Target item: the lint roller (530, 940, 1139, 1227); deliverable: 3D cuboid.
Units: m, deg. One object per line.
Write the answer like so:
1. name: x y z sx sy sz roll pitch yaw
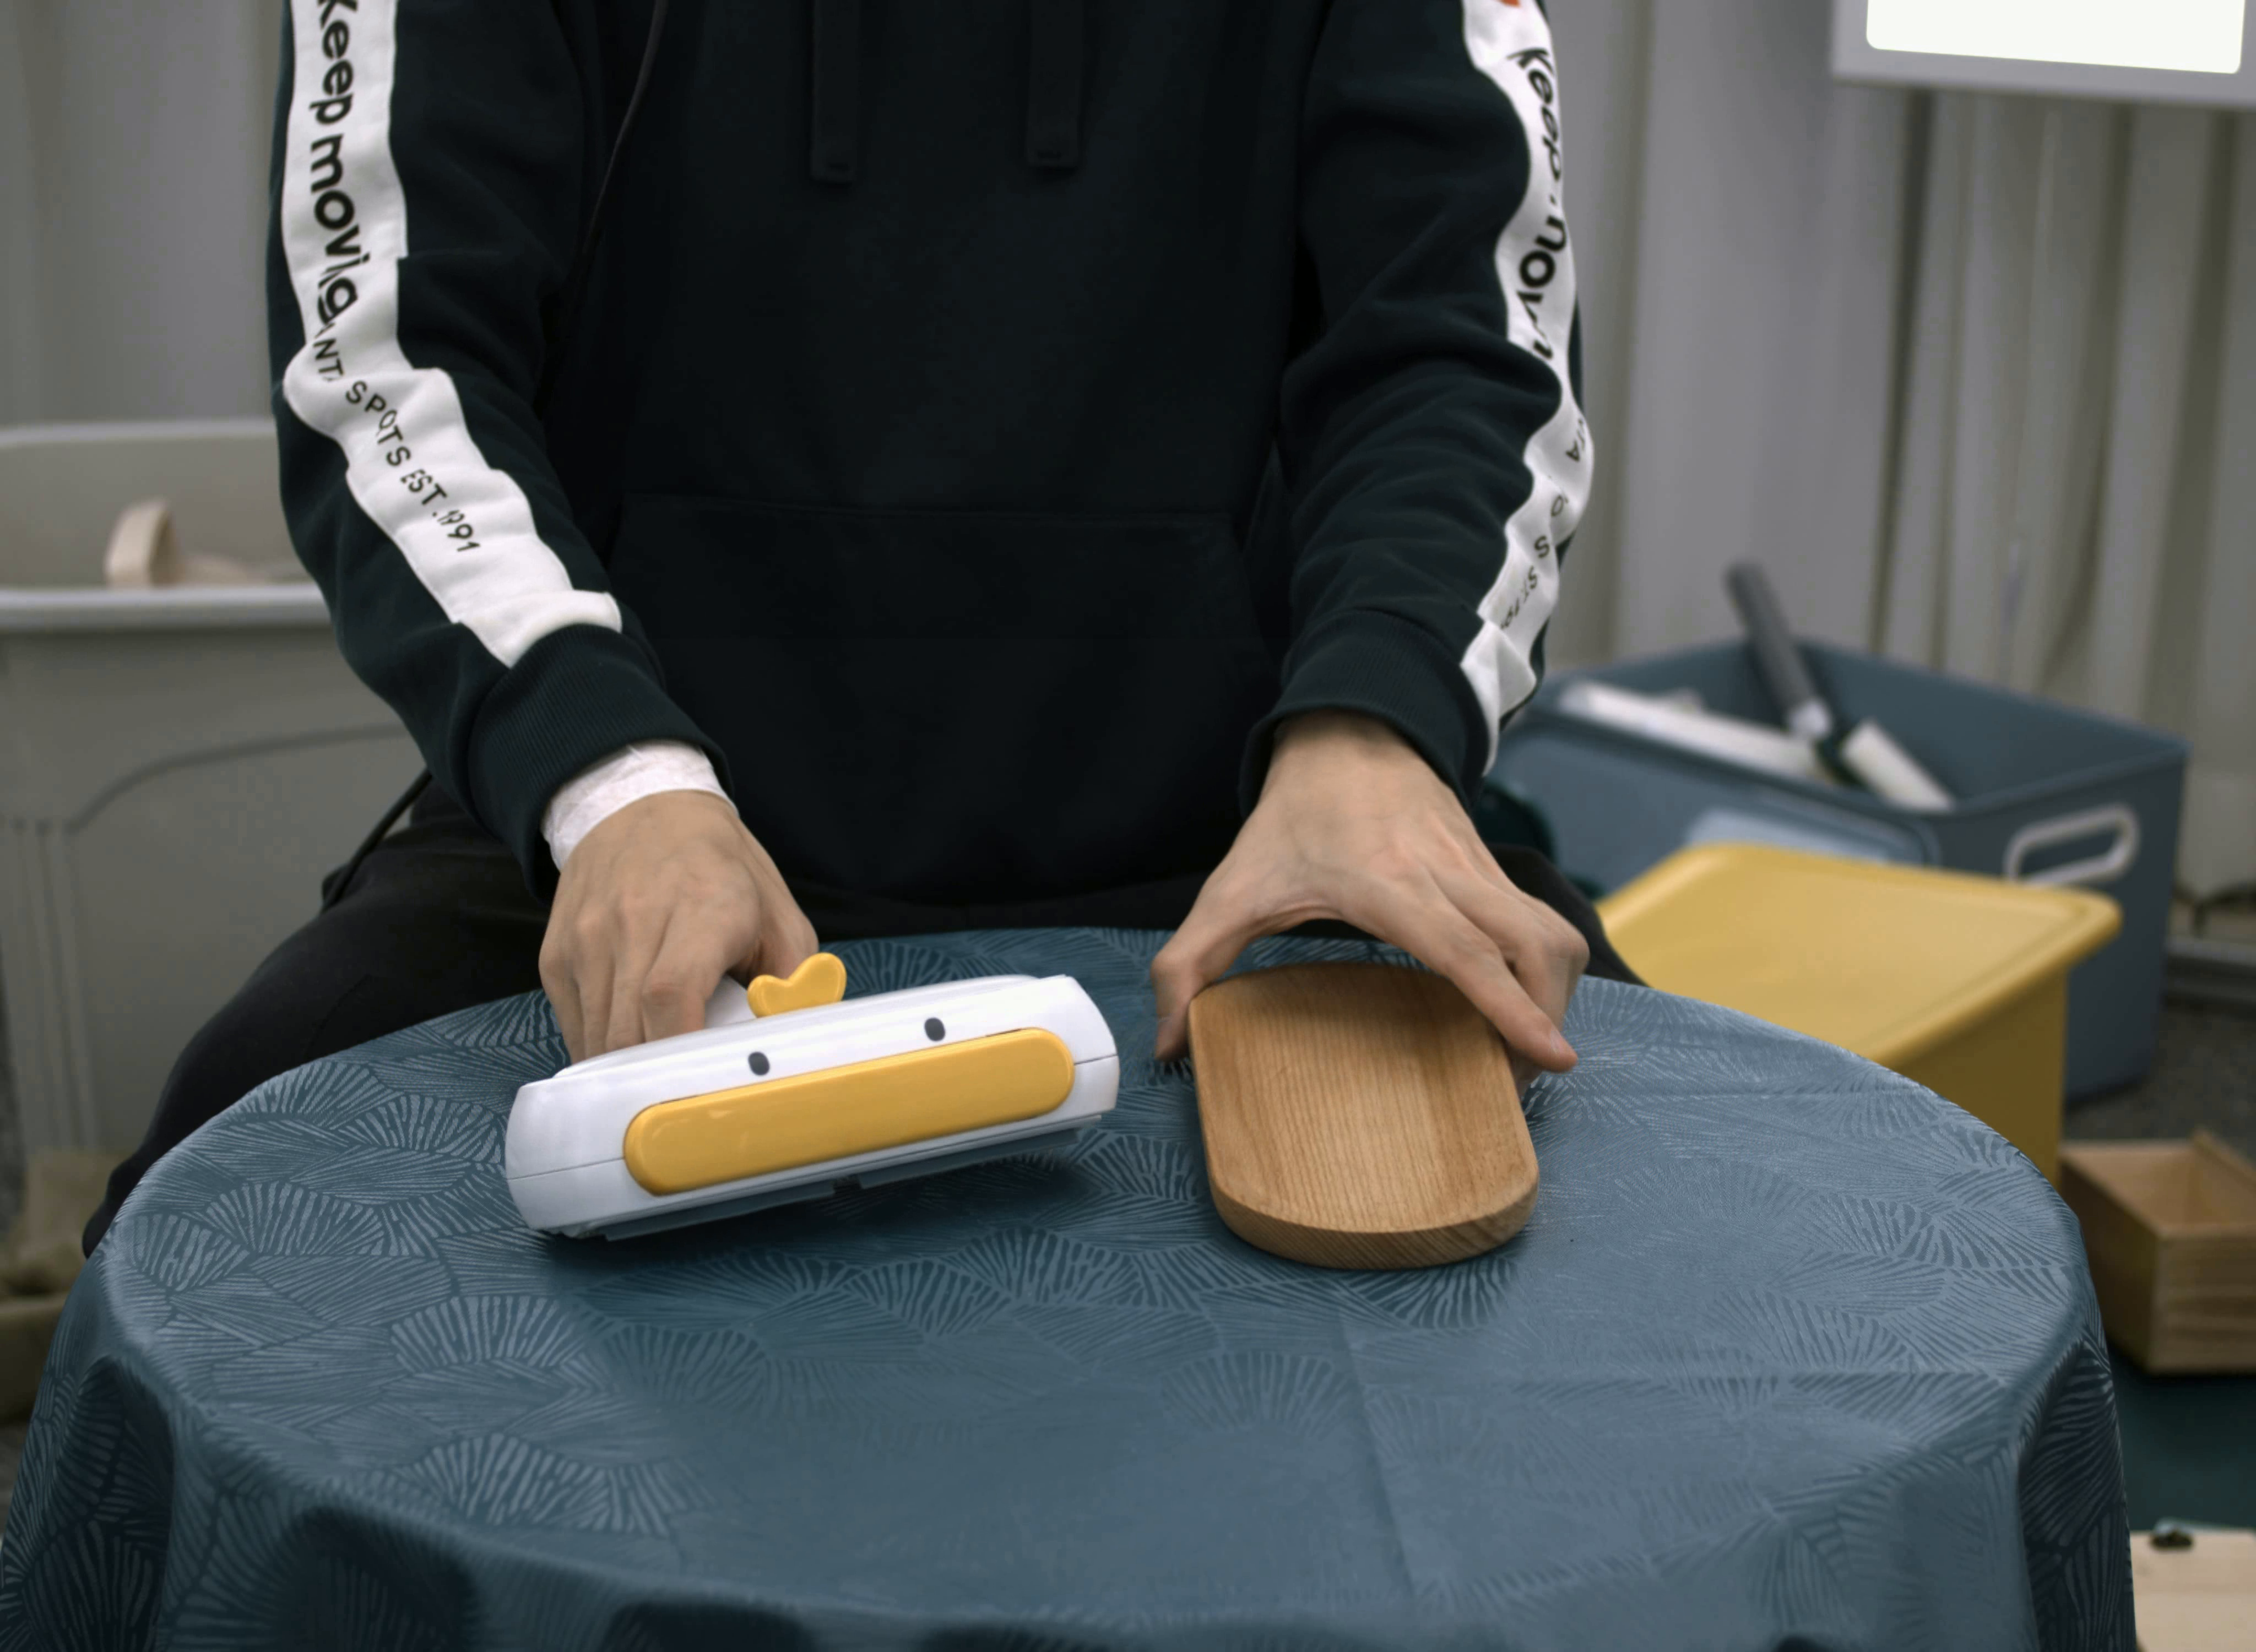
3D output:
1. lint roller: -0.117 0.072 1.647 0.193 0.074 0.190 -16 9 -27

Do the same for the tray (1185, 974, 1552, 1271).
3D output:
1. tray: 0.073 0.091 1.653 0.101 0.020 0.229 -1 19 -4
